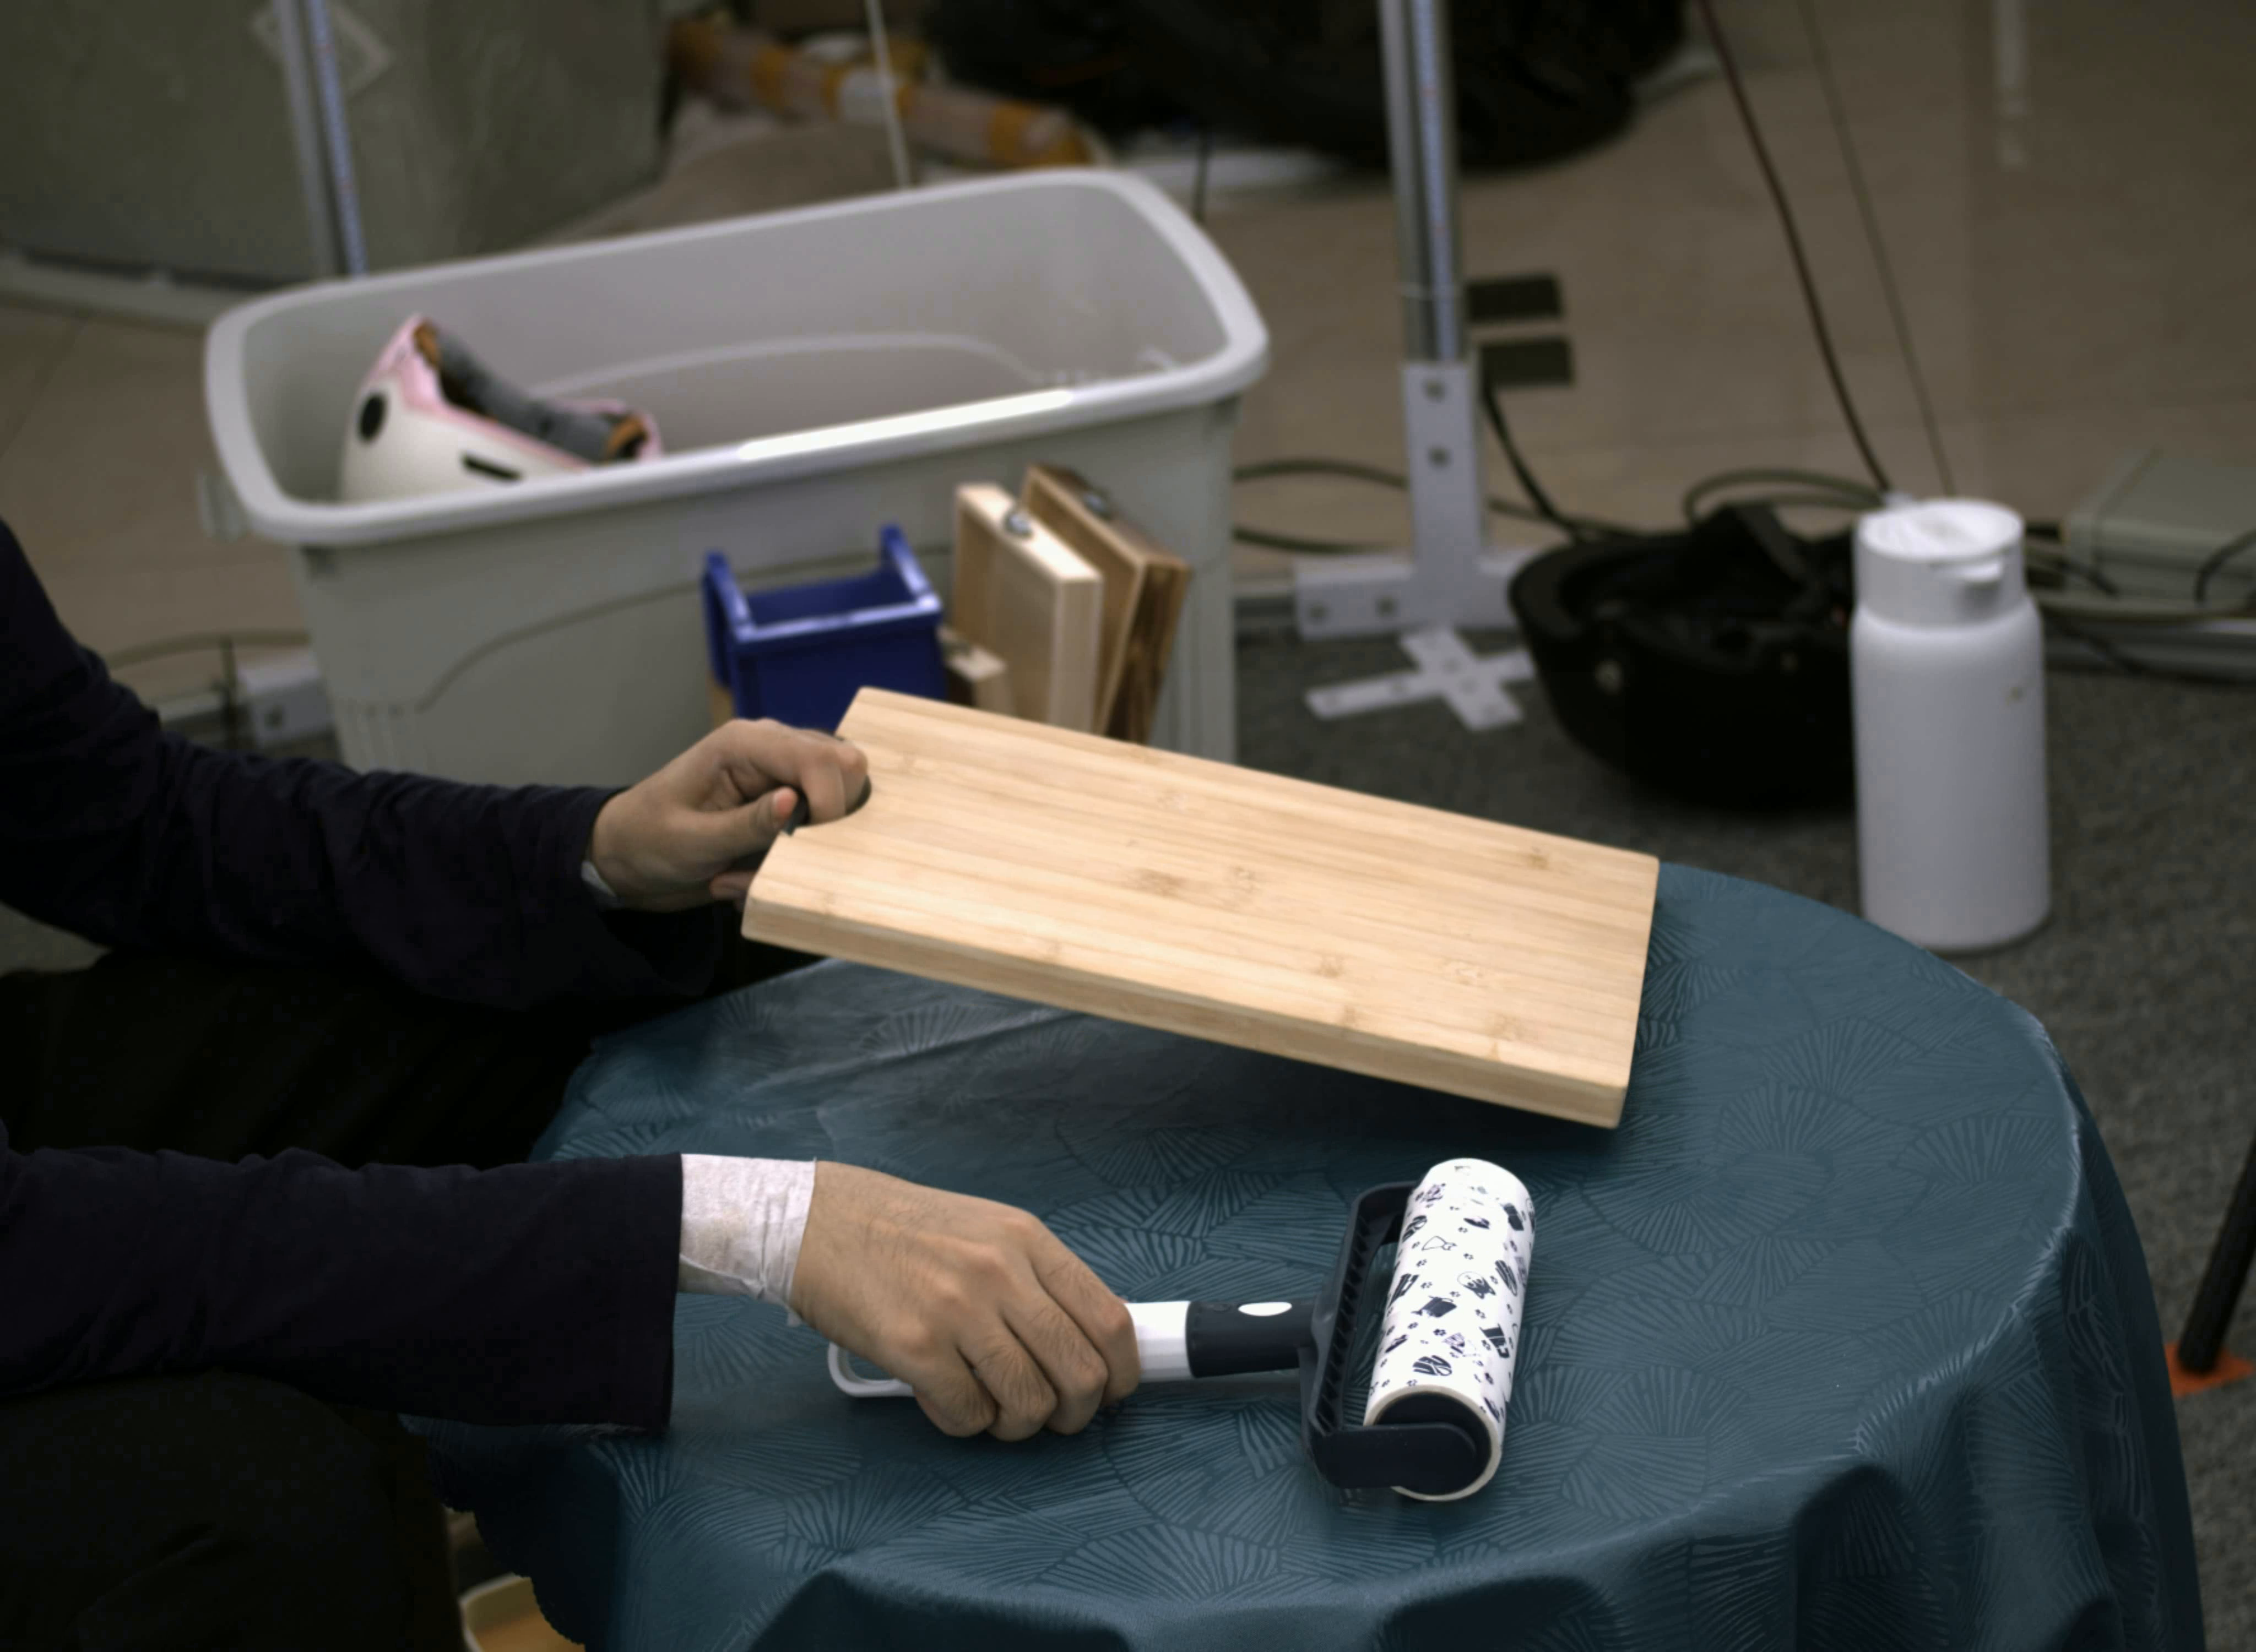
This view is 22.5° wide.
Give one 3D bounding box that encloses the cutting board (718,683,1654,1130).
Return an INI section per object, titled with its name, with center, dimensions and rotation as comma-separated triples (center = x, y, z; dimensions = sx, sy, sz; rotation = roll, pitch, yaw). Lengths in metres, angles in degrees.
[cutting board]
center = 0.030, 0.028, 2.234
dimensions = 0.348, 0.024, 0.247
rotation = 12, 22, 3

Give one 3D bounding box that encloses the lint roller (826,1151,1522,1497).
[lint roller]
center = 0.012, 0.182, 2.006
dimensions = 0.247, 0.051, 0.173
rotation = -5, 26, 10
